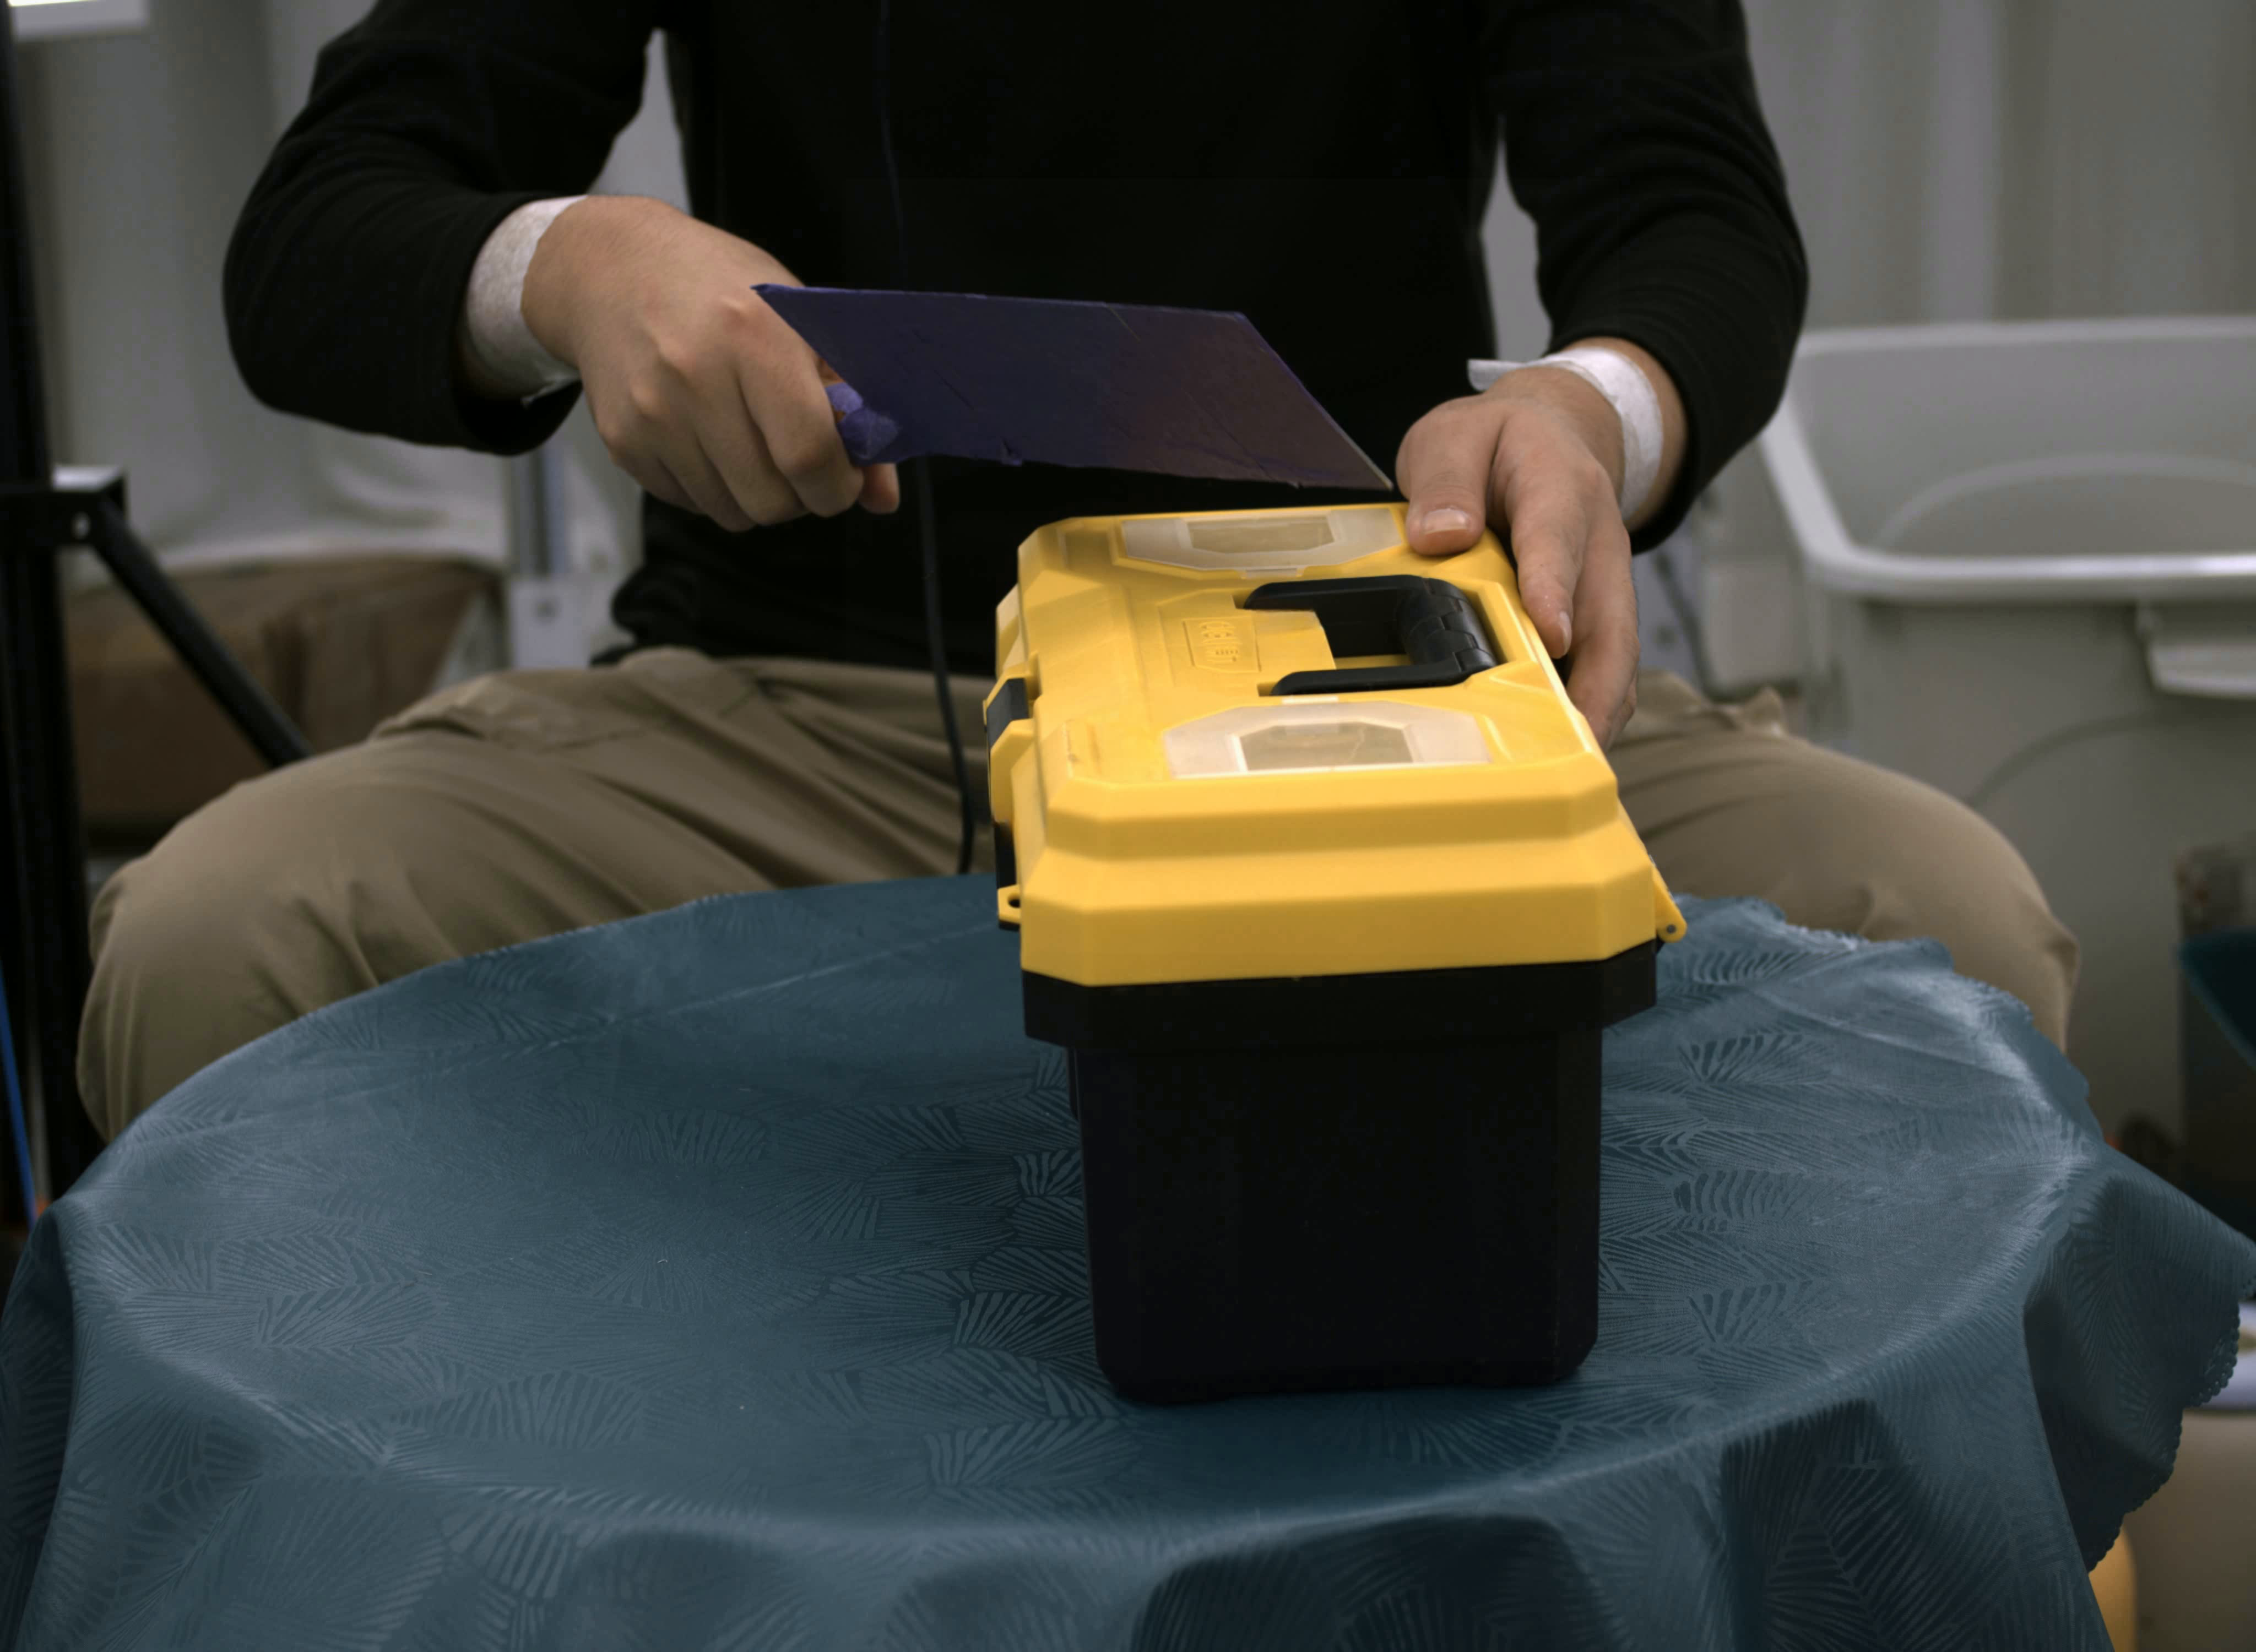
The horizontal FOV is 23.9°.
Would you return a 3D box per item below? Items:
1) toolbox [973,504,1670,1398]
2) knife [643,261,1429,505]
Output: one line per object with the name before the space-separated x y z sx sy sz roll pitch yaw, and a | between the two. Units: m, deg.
toolbox | 0.048 0.027 1.520 0.180 0.173 0.353 -2 15 -1
knife | -0.050 -0.141 1.649 0.322 0.101 0.032 7 62 42
